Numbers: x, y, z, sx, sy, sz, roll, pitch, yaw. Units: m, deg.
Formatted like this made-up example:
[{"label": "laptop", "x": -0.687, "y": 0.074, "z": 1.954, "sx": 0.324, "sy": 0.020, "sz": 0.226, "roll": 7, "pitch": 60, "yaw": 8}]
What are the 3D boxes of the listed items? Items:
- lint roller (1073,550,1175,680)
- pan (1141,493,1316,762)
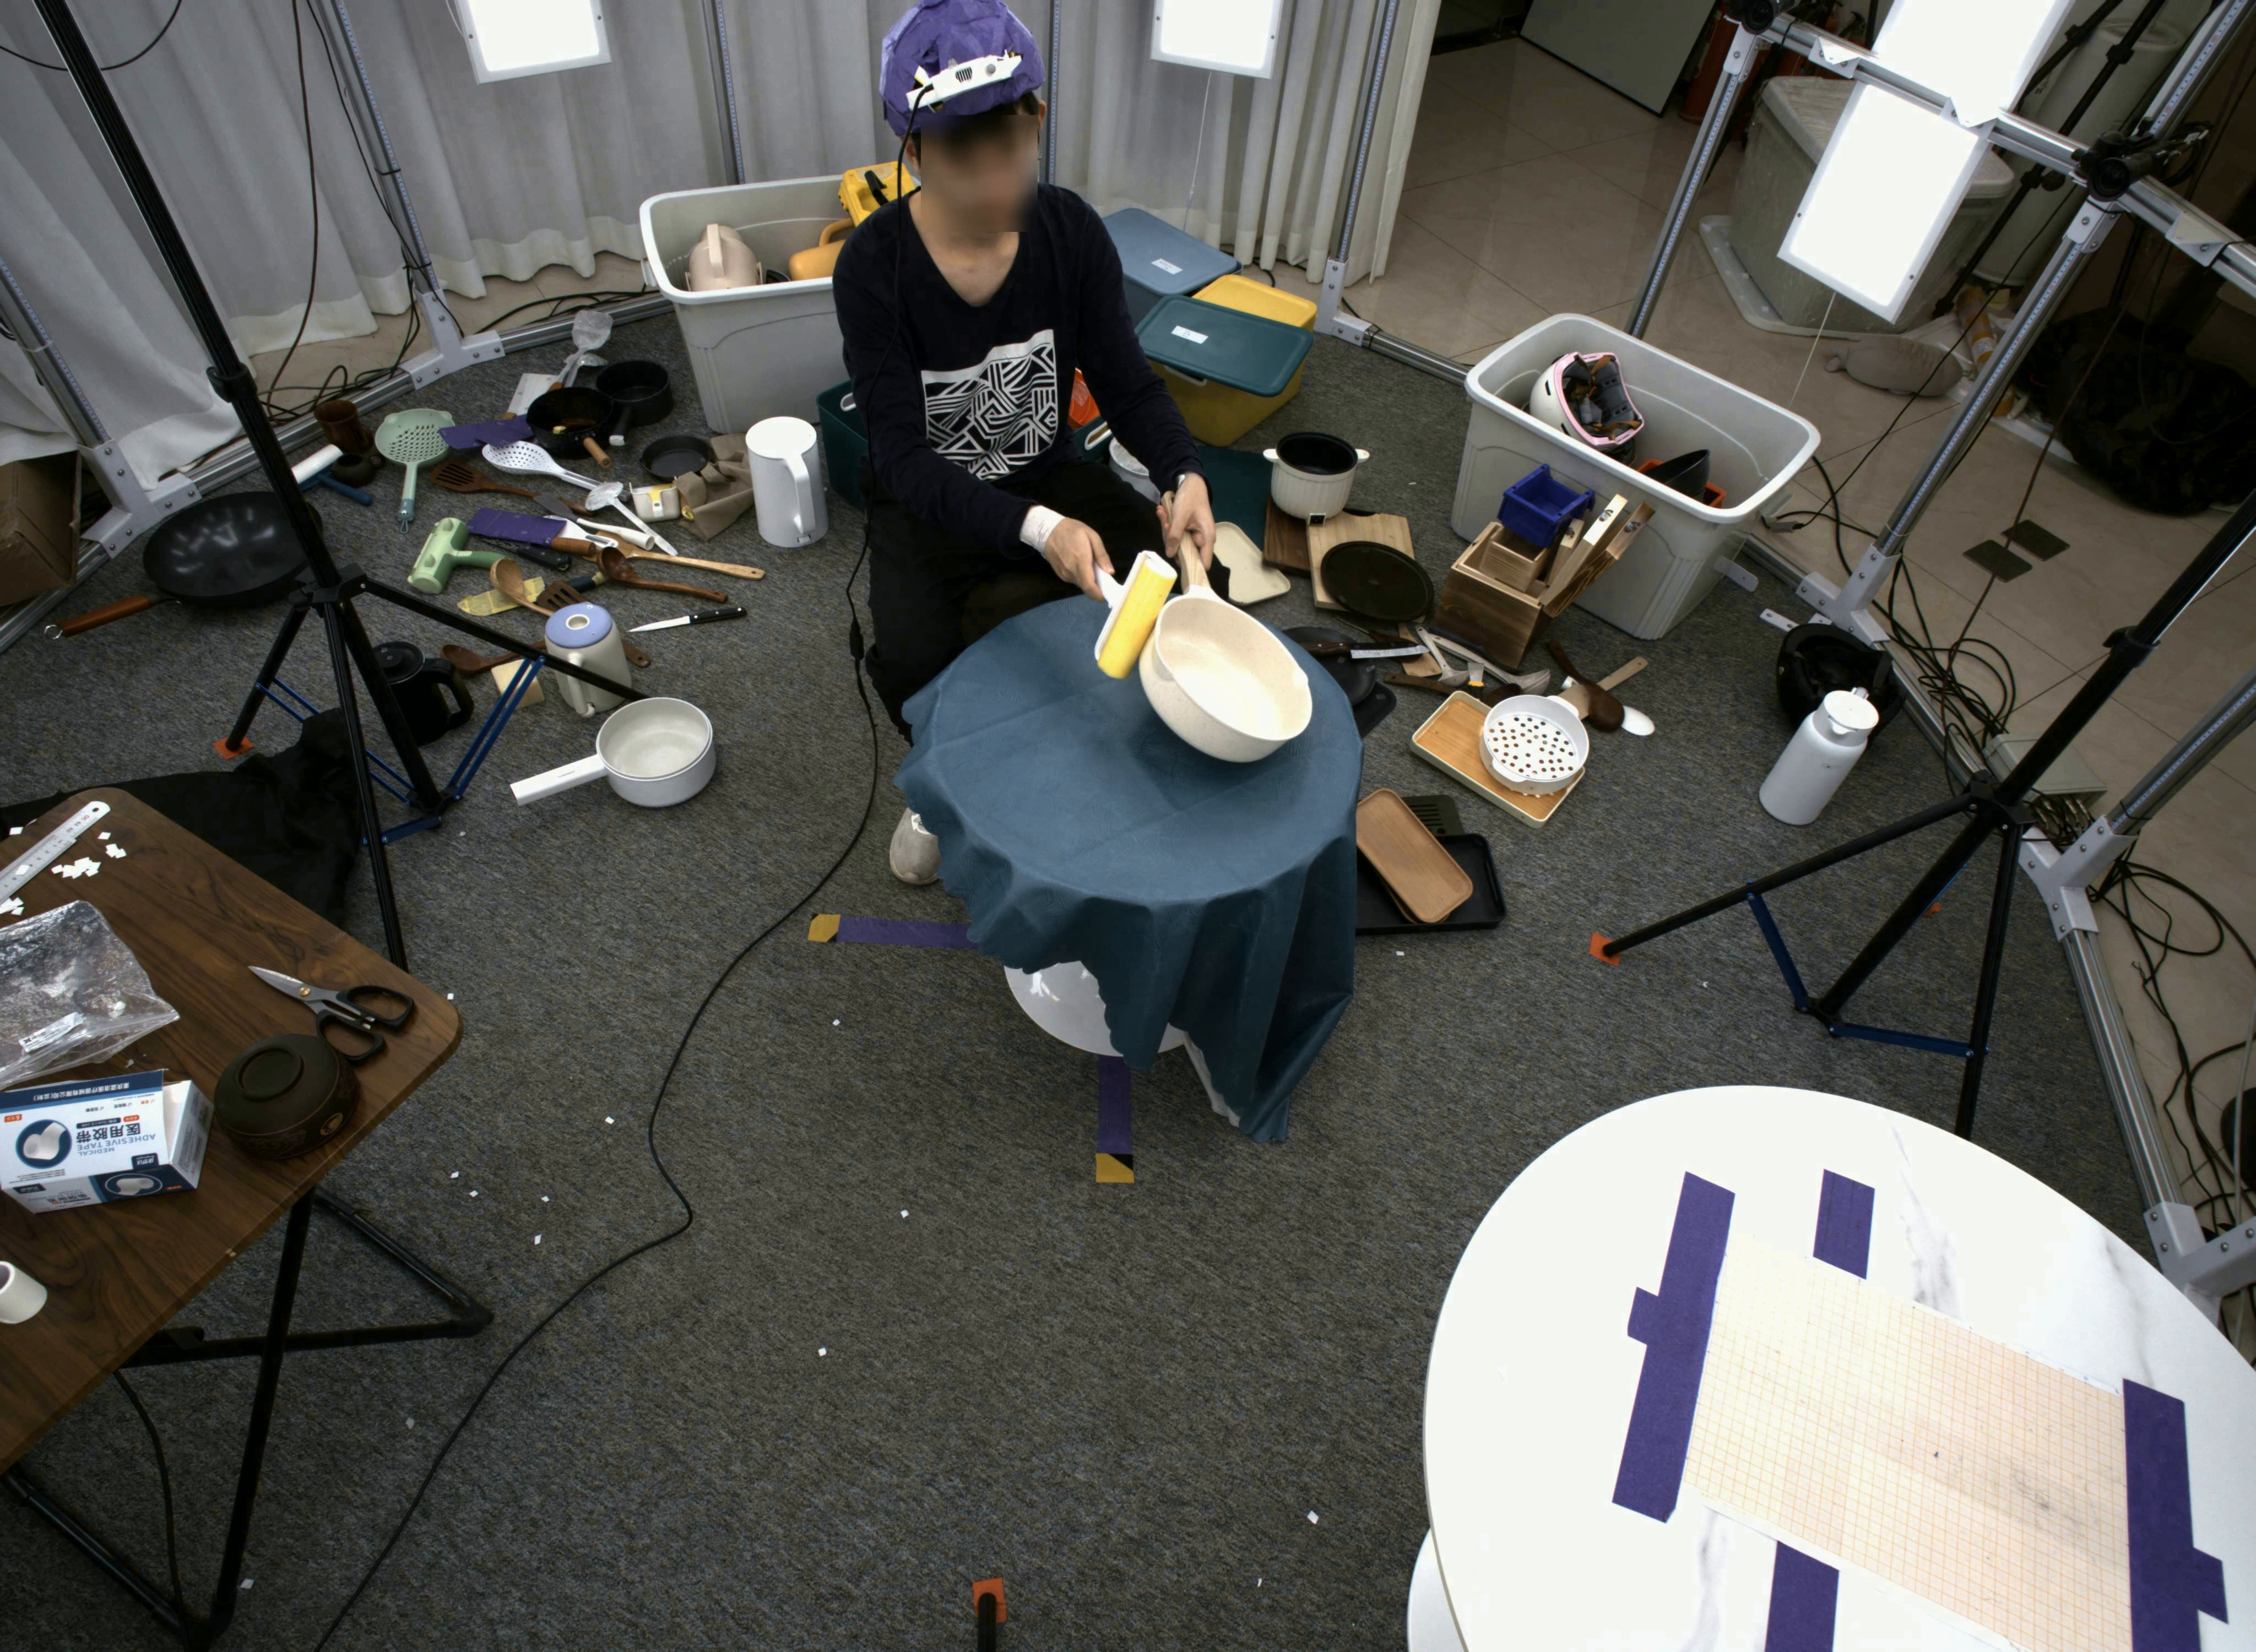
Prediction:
[{"label": "lint roller", "x": -0.032, "y": -0.319, "z": 1.747, "sx": 0.051, "sy": 0.171, "sz": 0.196, "roll": -5, "pitch": 42, "yaw": -44}, {"label": "pan", "x": 0.103, "y": -0.274, "z": 1.786, "sx": 0.262, "sy": 0.100, "sz": 0.444, "roll": 2, "pitch": 53, "yaw": -33}]
